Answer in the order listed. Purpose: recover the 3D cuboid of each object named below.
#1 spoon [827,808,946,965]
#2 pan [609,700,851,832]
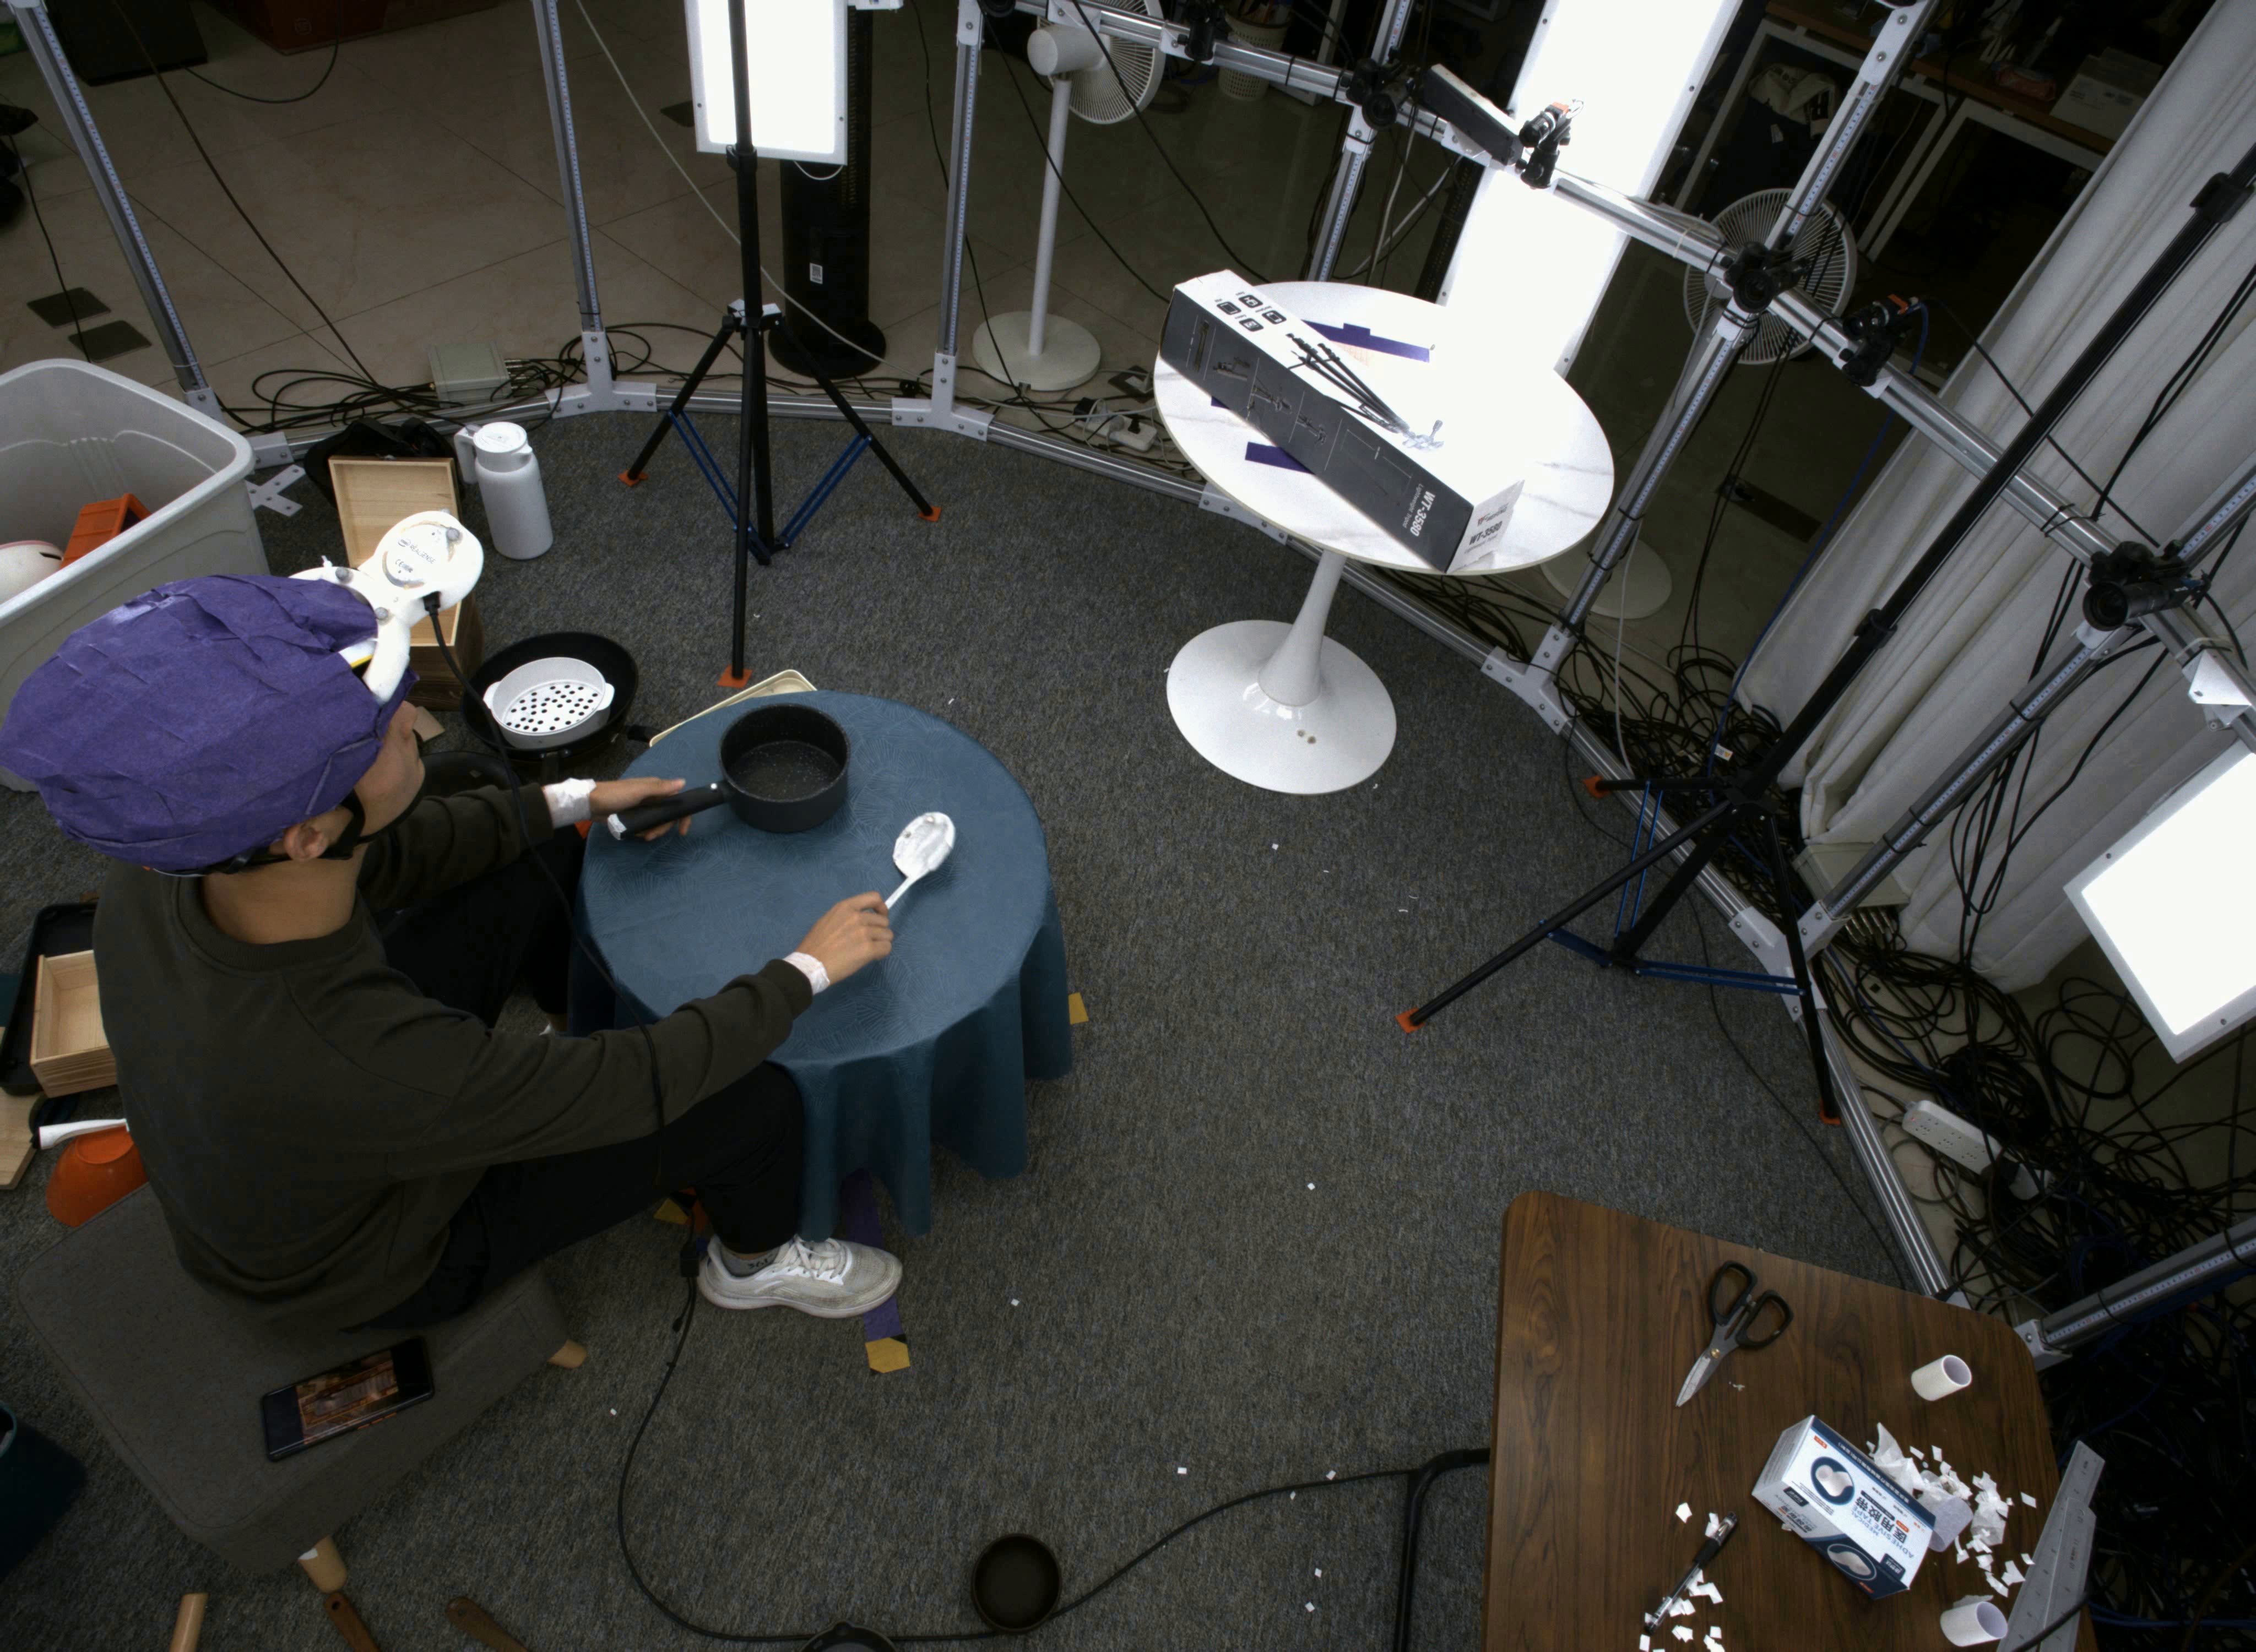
[{"bbox_3d":[-0.316,0.072,1.646,0.061,0.098,0.276,60,38,-17],"label":"spoon"},{"bbox_3d":[-0.519,-0.049,1.693,0.330,0.088,0.167,-26,62,-30],"label":"pan"}]
